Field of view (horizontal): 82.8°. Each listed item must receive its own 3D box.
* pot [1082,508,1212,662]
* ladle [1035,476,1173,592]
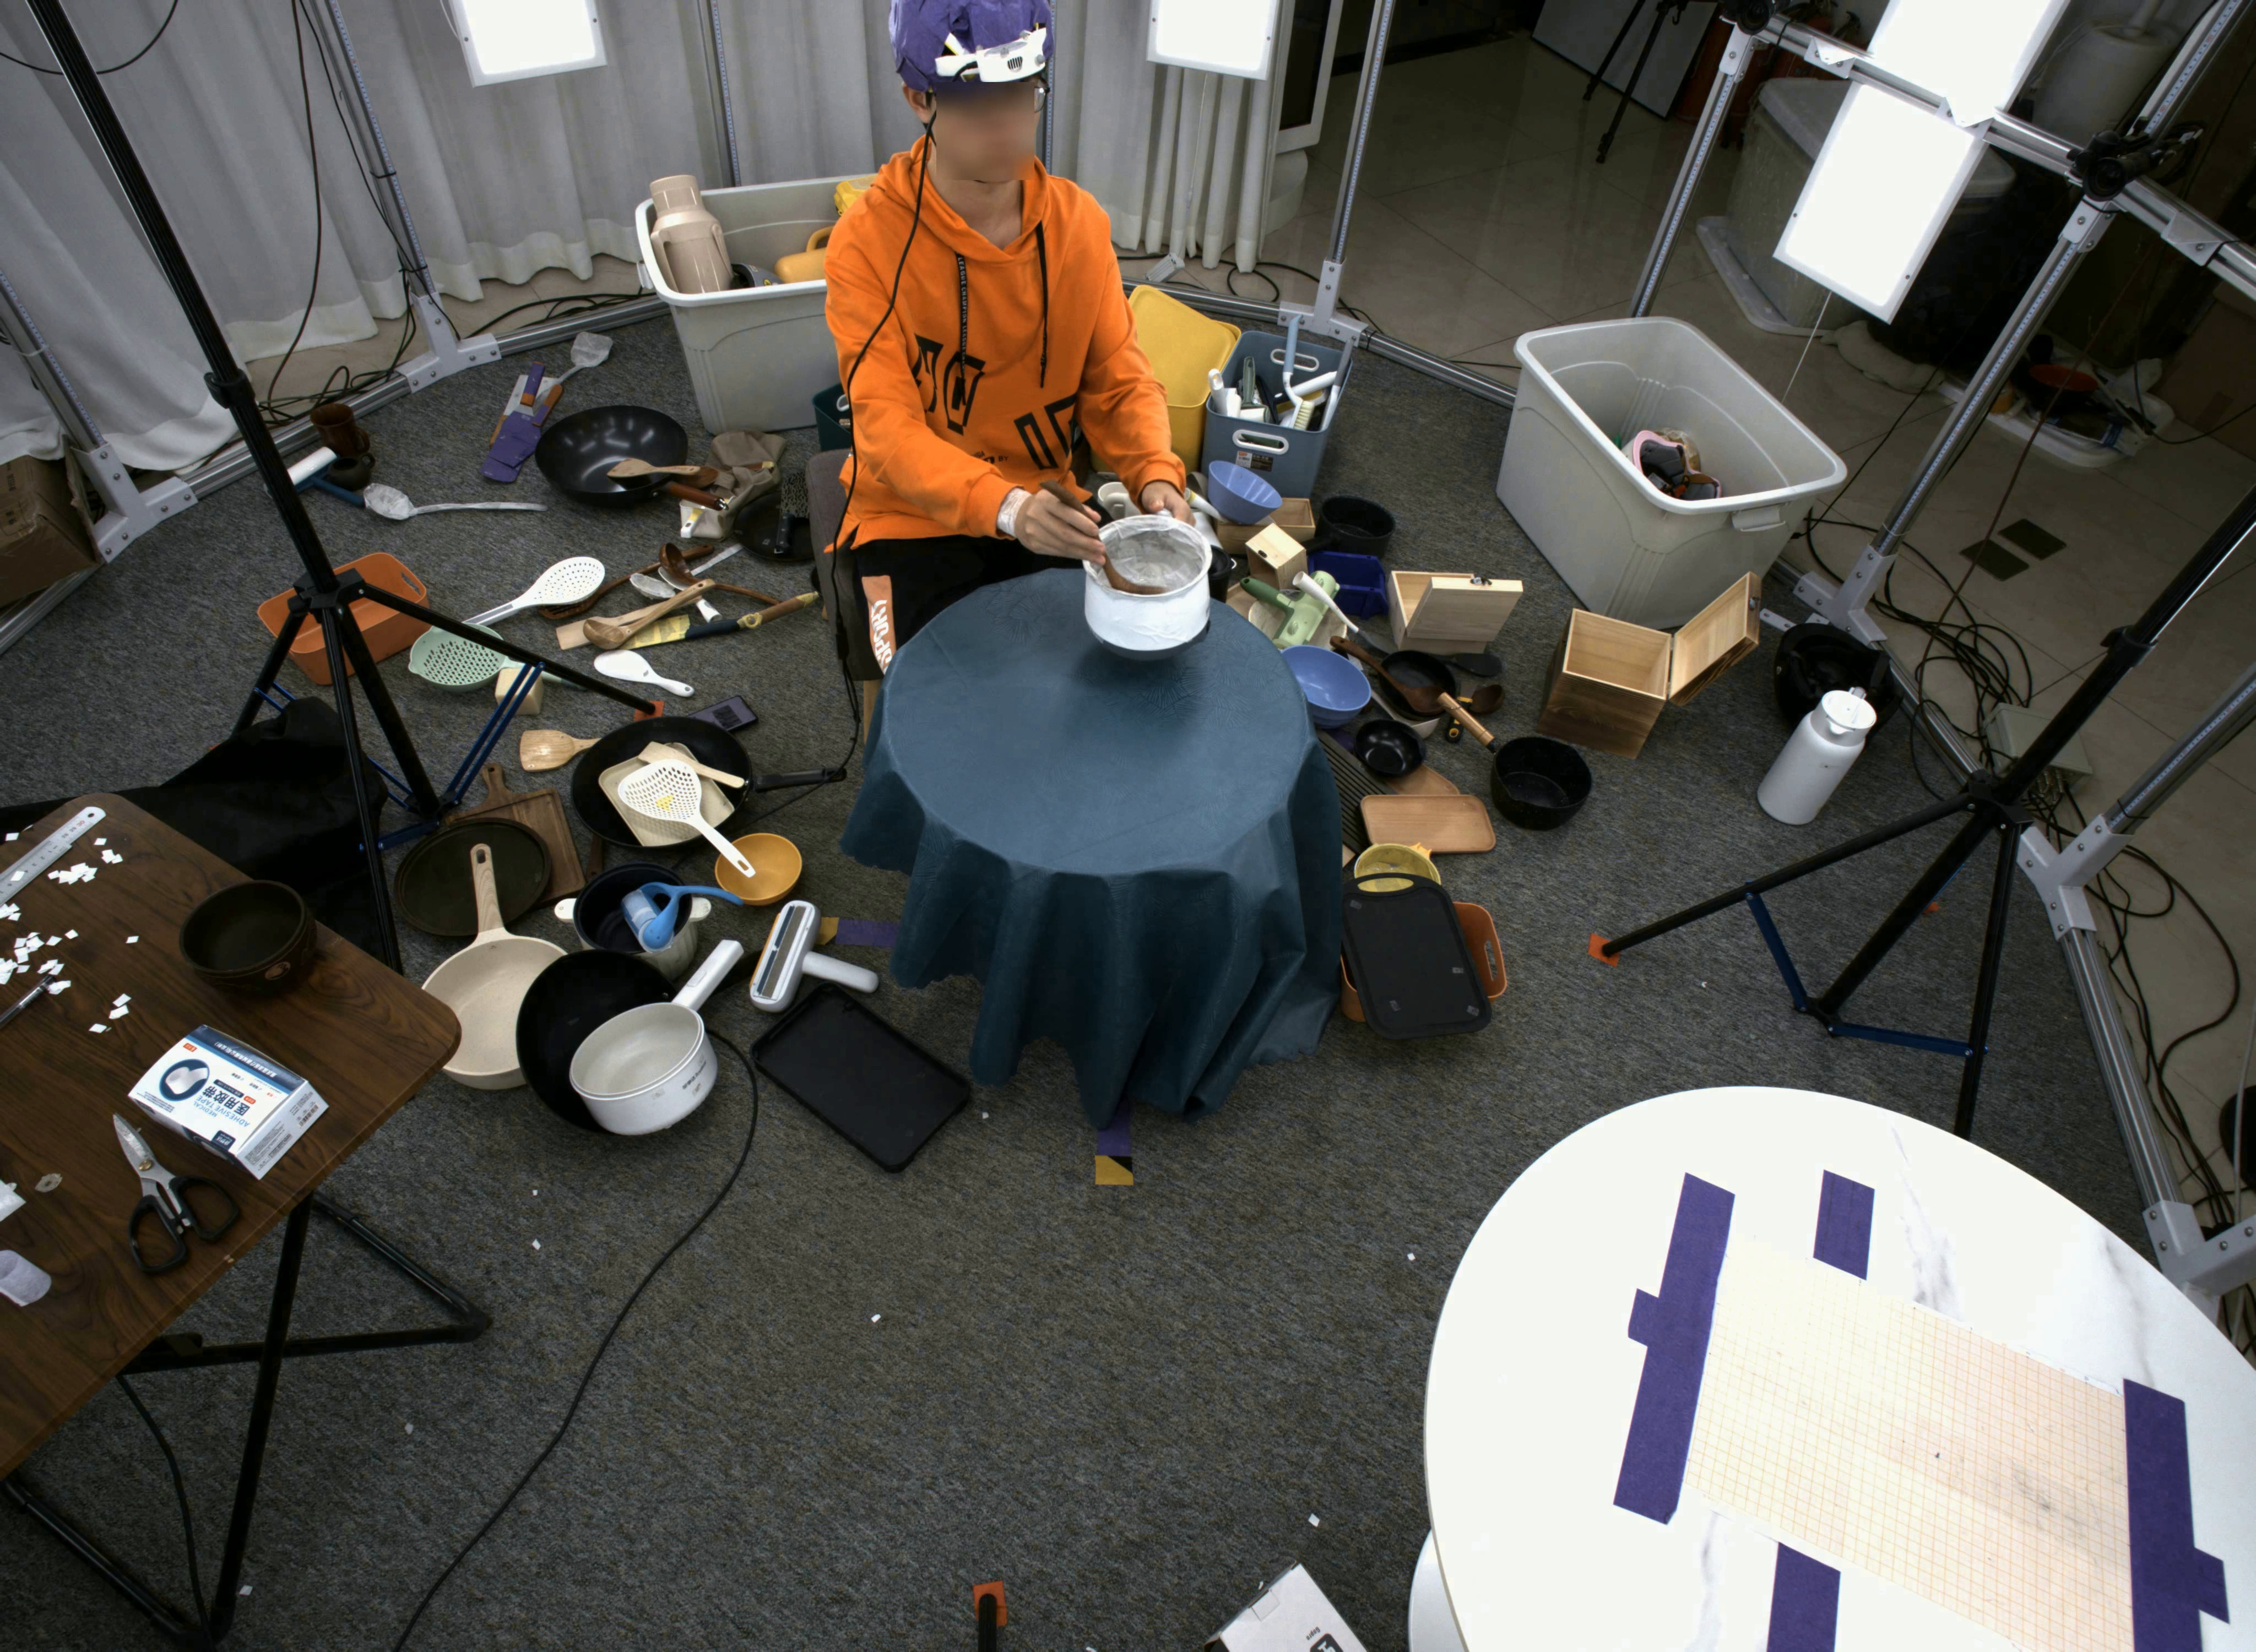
[{"bbox_3d":[0.033,-0.350,1.818,0.179,0.133,0.239,8,49,8],"label":"pot"},{"bbox_3d":[-0.028,-0.379,1.689,0.077,0.255,0.066,15,64,48],"label":"ladle"}]
